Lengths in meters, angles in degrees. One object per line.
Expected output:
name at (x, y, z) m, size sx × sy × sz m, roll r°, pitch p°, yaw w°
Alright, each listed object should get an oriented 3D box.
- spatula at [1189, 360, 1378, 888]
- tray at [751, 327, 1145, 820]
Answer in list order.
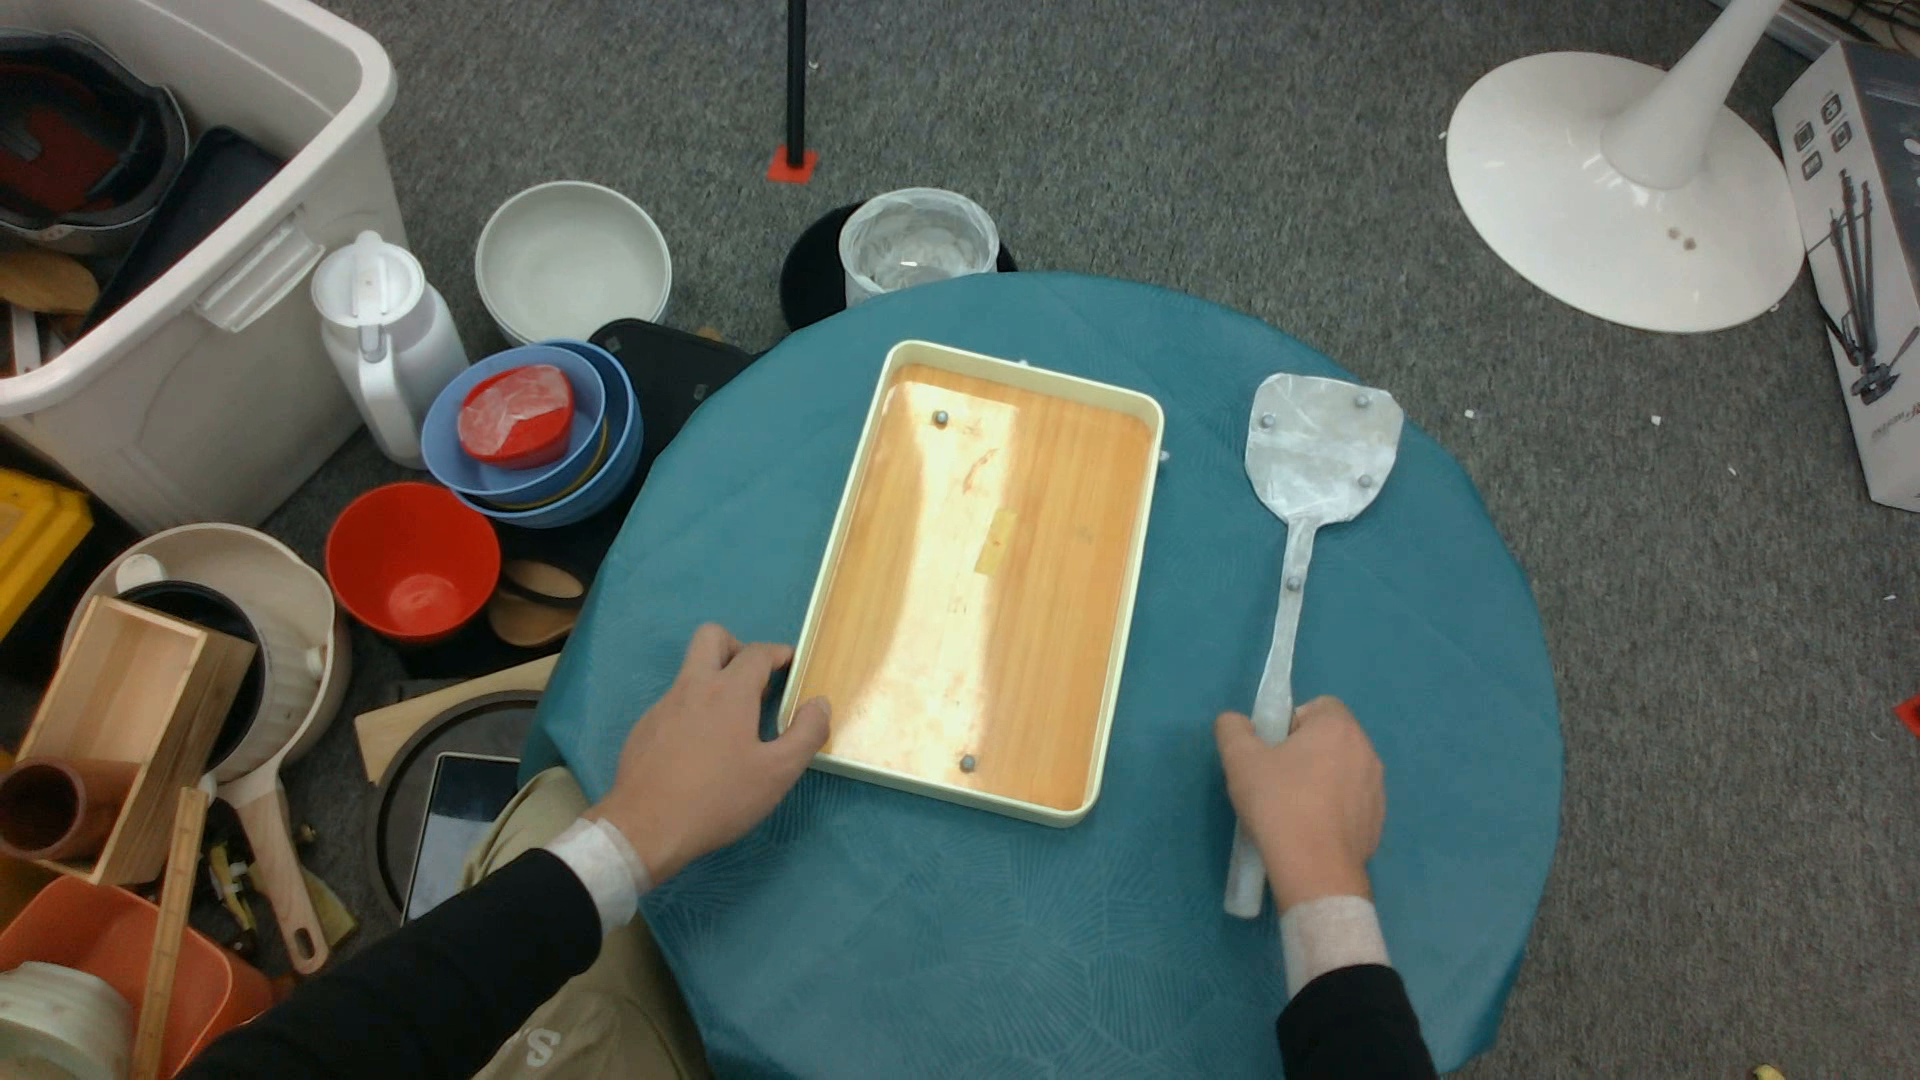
spatula at (0.187, 0.039, 0.846) m, size 0.098 × 0.044 × 0.366 m, roll 13°, pitch 57°, yaw 9°
tray at (0.000, 0.010, 0.853) m, size 0.191 × 0.027 × 0.301 m, roll 14°, pitch 61°, yaw 0°
